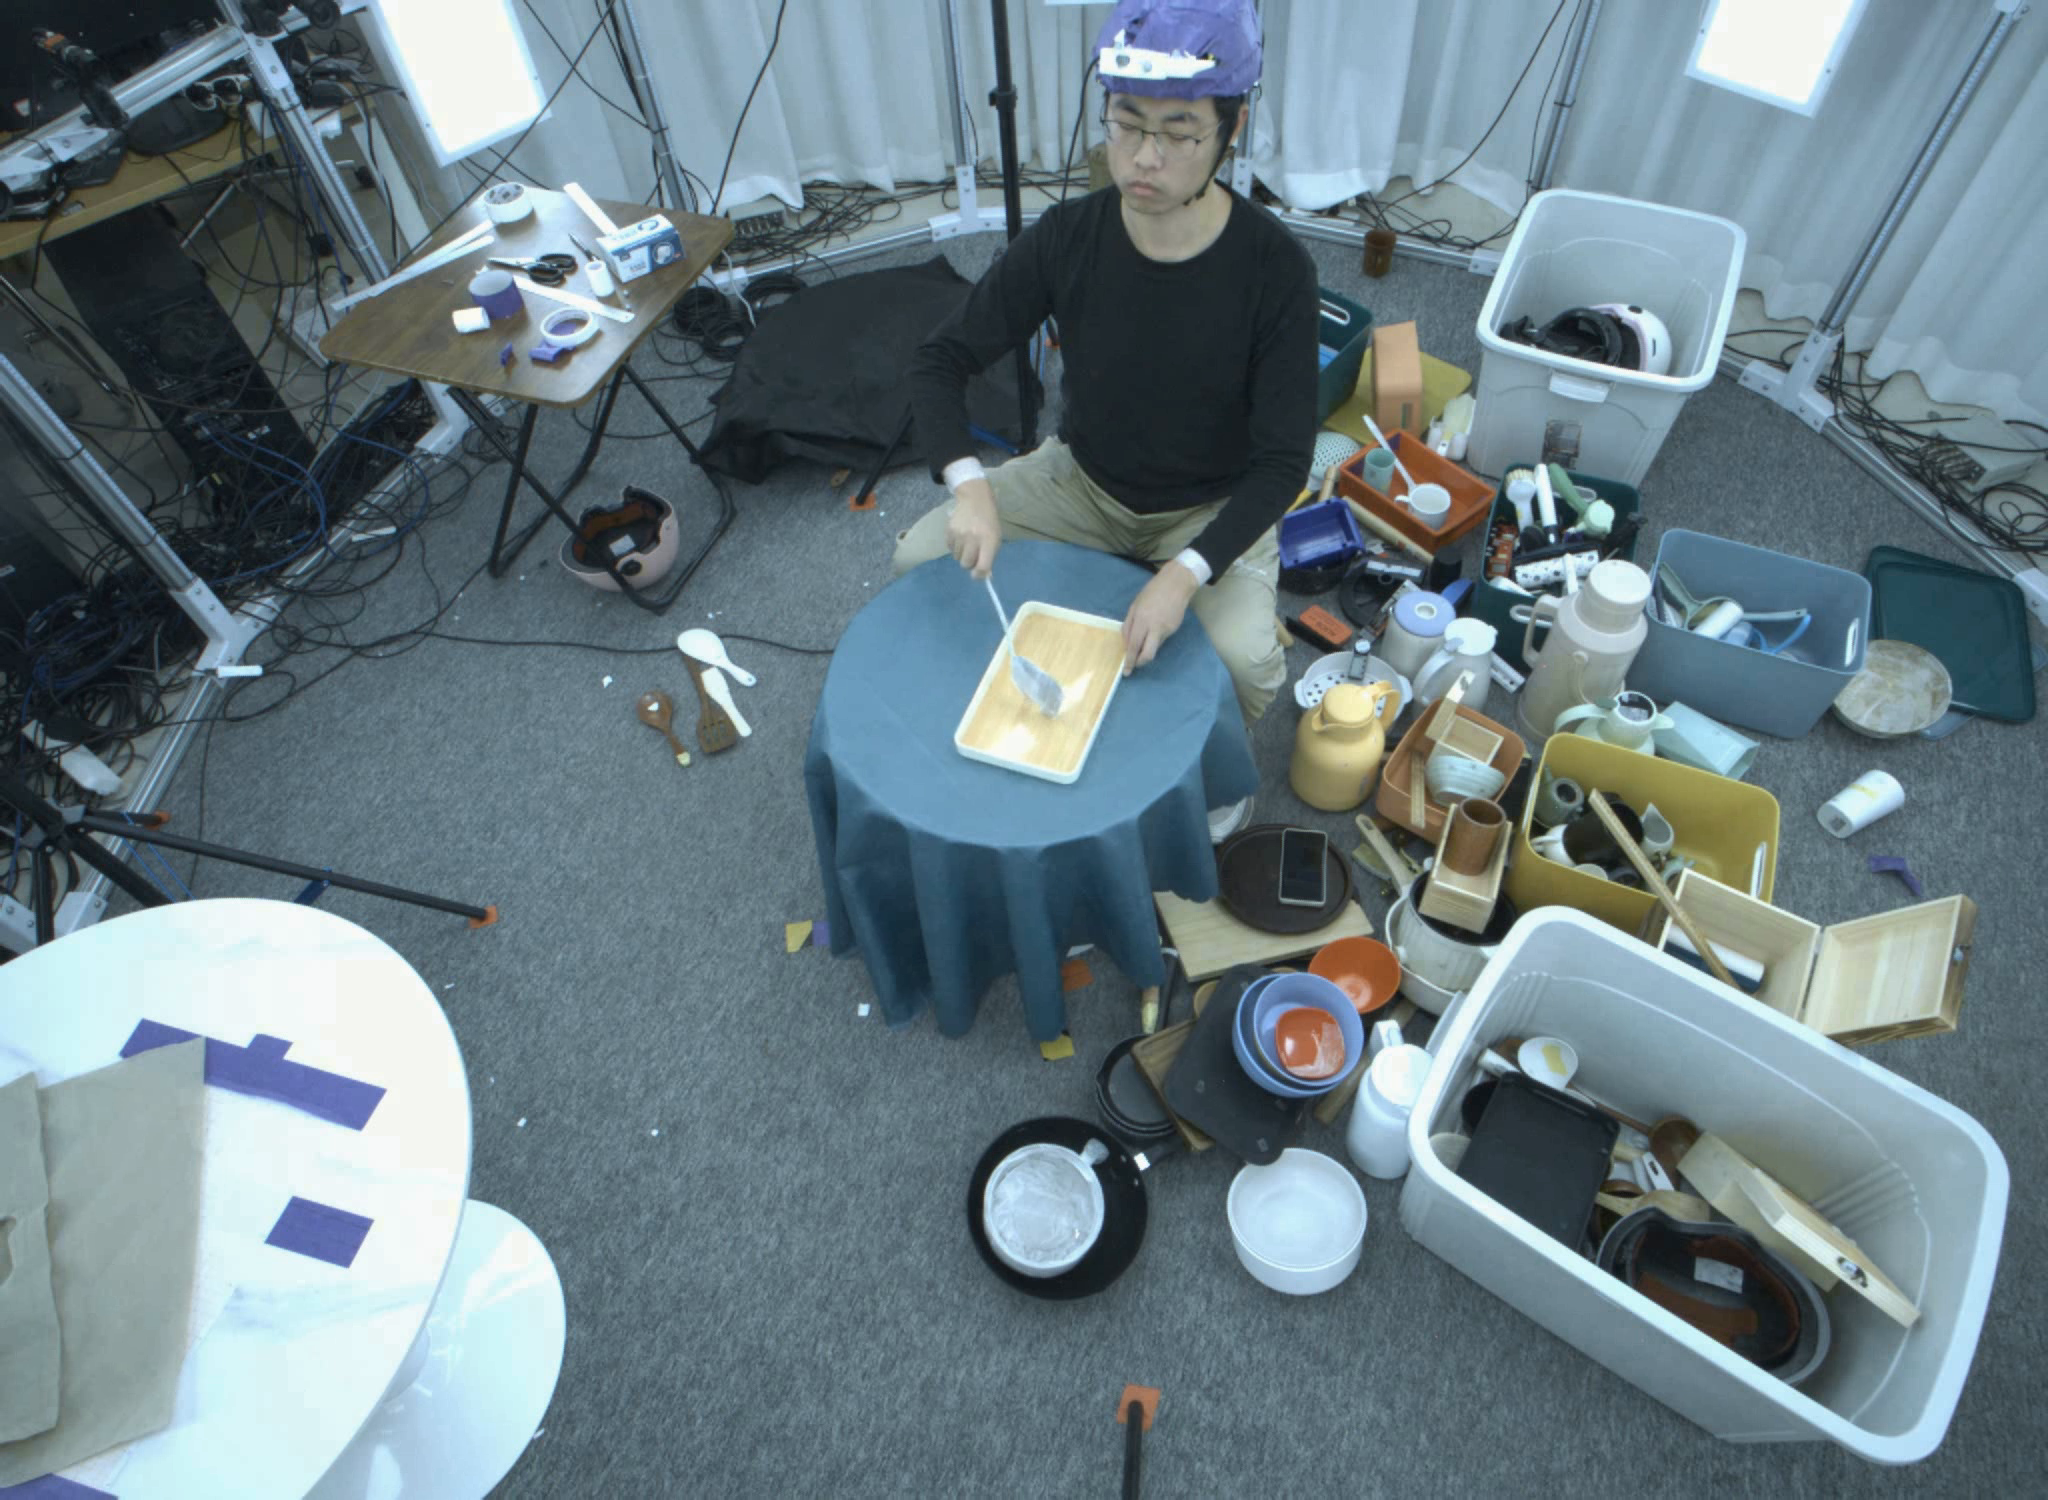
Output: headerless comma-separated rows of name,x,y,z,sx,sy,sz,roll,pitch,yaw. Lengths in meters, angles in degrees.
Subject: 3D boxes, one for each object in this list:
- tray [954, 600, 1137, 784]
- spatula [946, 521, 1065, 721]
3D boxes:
tray,0.036,-0.093,1.835,0.189,0.028,0.300,17,57,13
spatula,-0.032,-0.205,1.817,0.045,0.098,0.361,-17,72,-18
